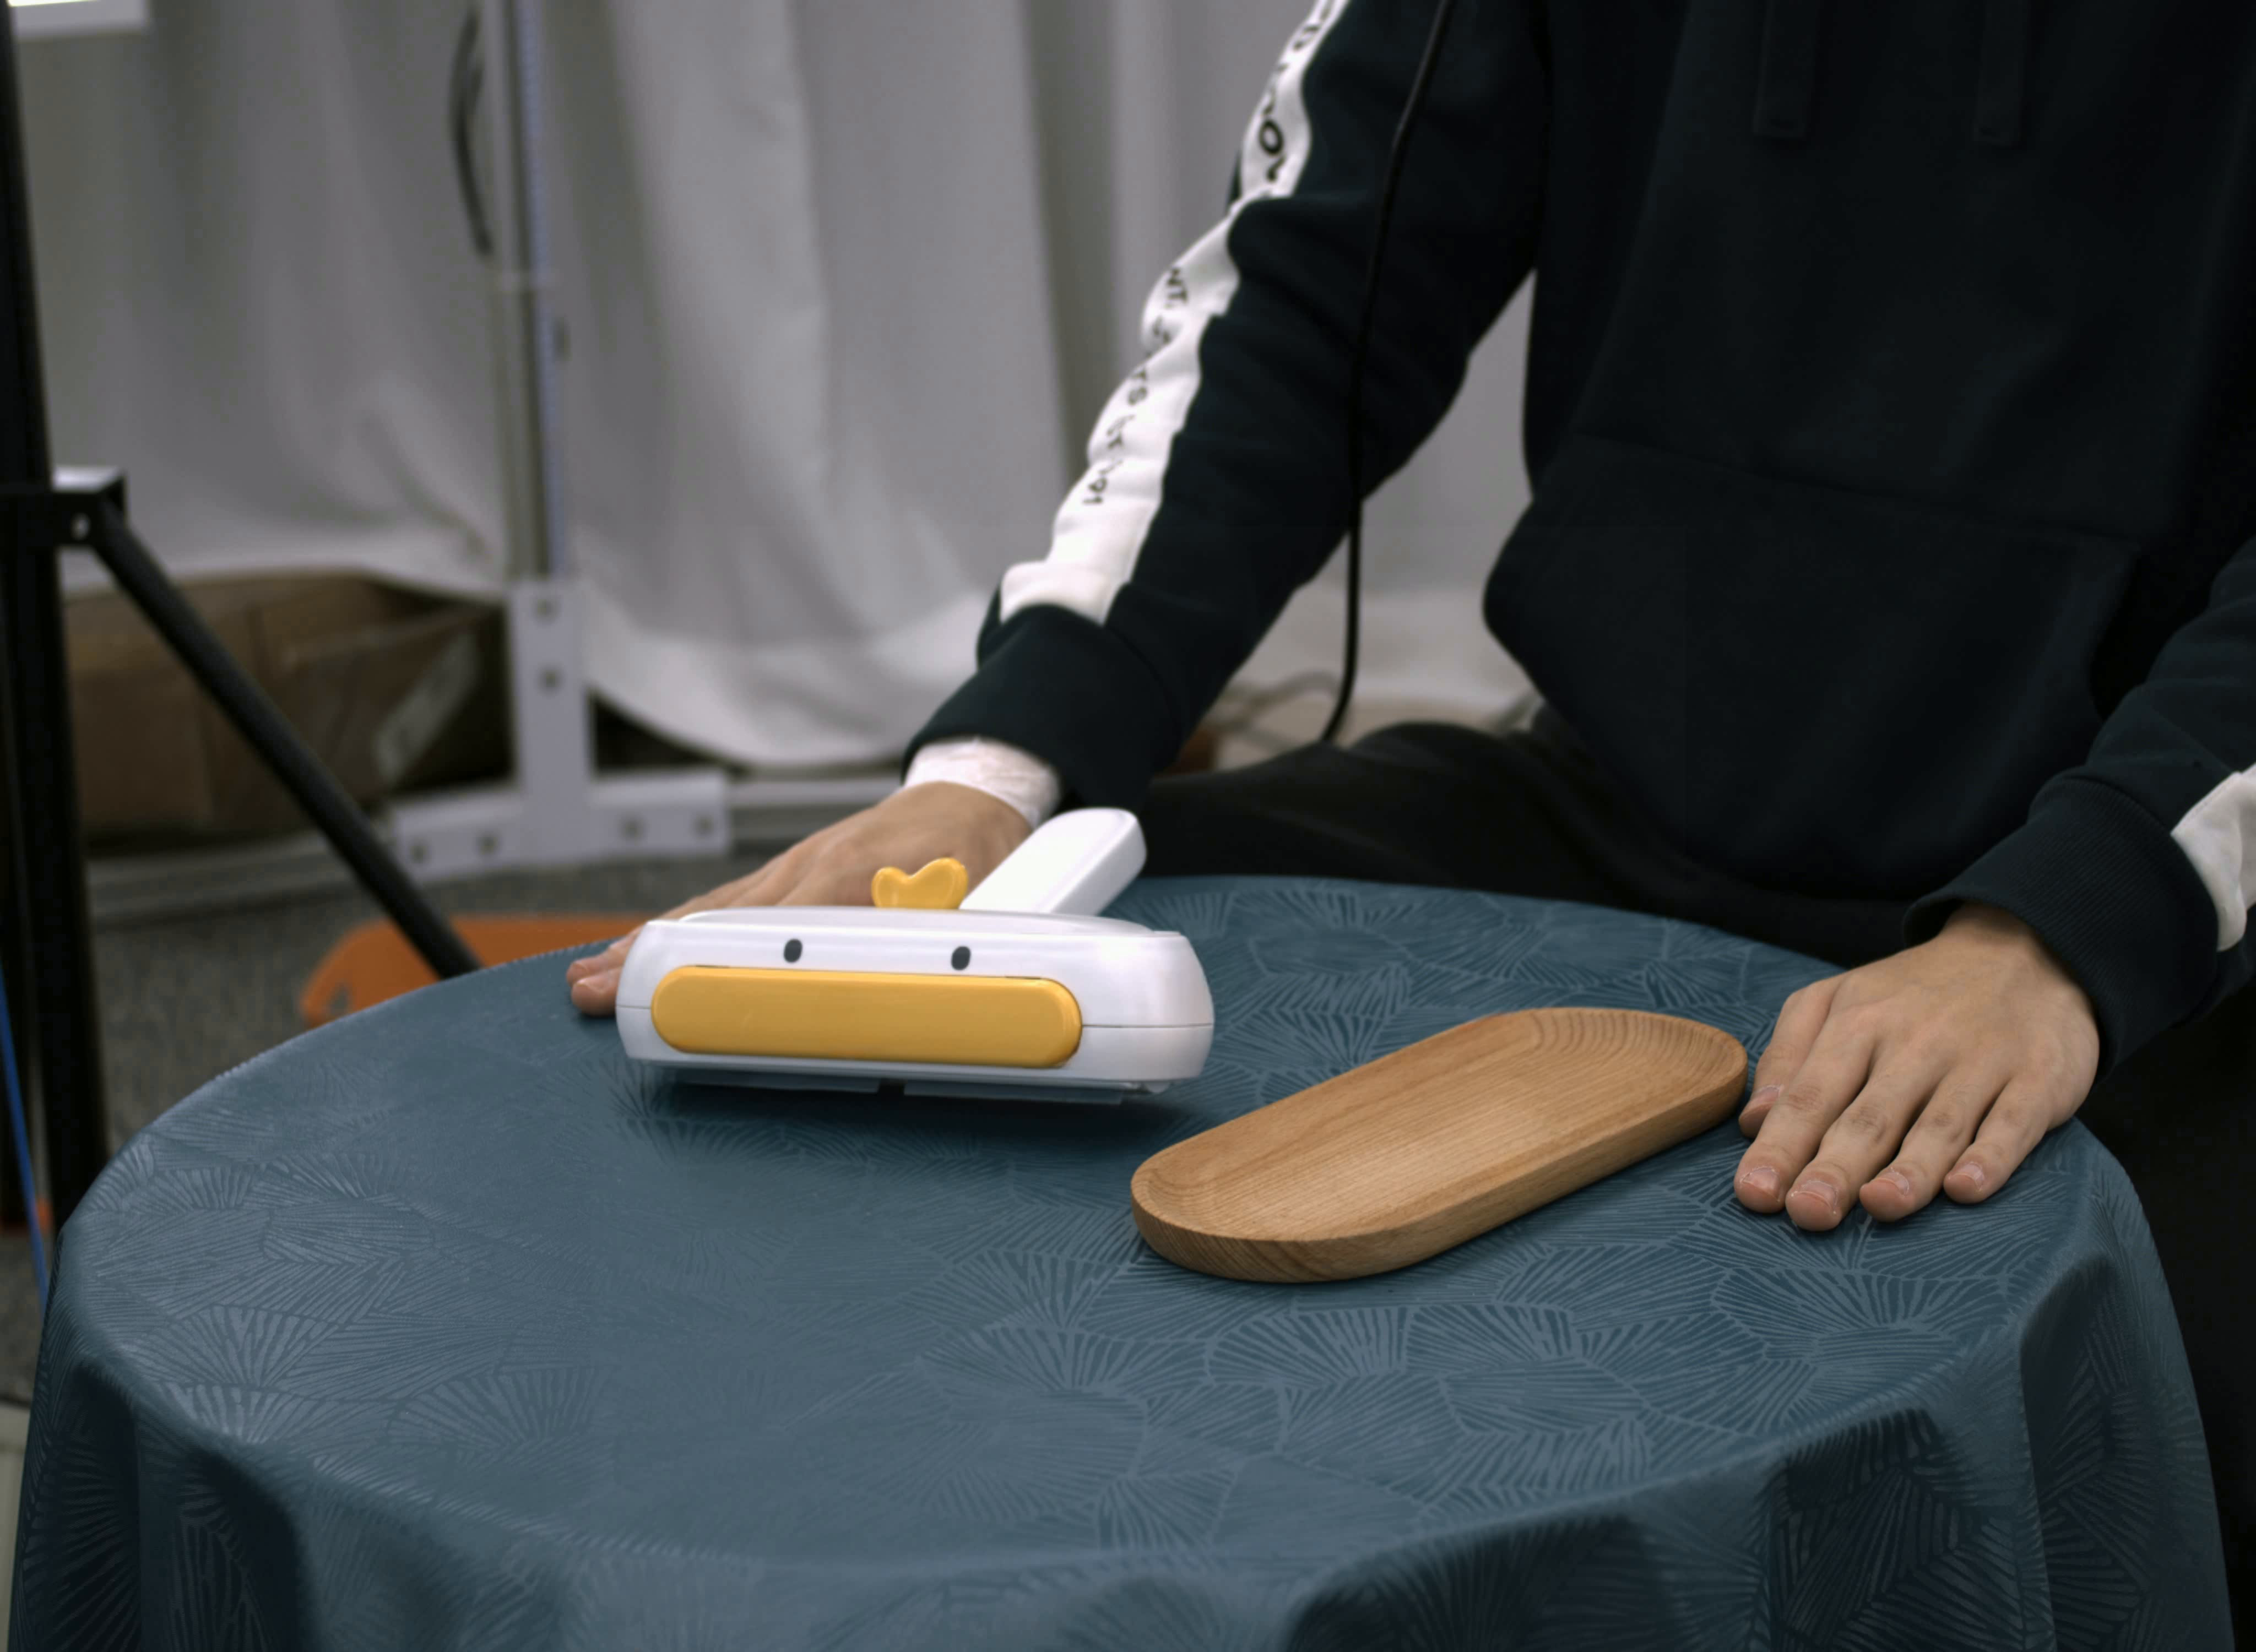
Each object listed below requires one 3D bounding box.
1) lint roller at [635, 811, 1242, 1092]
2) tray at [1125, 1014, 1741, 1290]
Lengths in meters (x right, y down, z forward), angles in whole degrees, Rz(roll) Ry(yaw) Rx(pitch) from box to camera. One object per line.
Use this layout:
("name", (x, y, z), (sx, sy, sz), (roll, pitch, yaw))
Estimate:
("lint roller", (-0.040, 0.038, 1.690), (0.195, 0.074, 0.189), (-4, 7, 23))
("tray", (0.093, 0.095, 1.559), (0.104, 0.020, 0.226), (10, 22, 41))
